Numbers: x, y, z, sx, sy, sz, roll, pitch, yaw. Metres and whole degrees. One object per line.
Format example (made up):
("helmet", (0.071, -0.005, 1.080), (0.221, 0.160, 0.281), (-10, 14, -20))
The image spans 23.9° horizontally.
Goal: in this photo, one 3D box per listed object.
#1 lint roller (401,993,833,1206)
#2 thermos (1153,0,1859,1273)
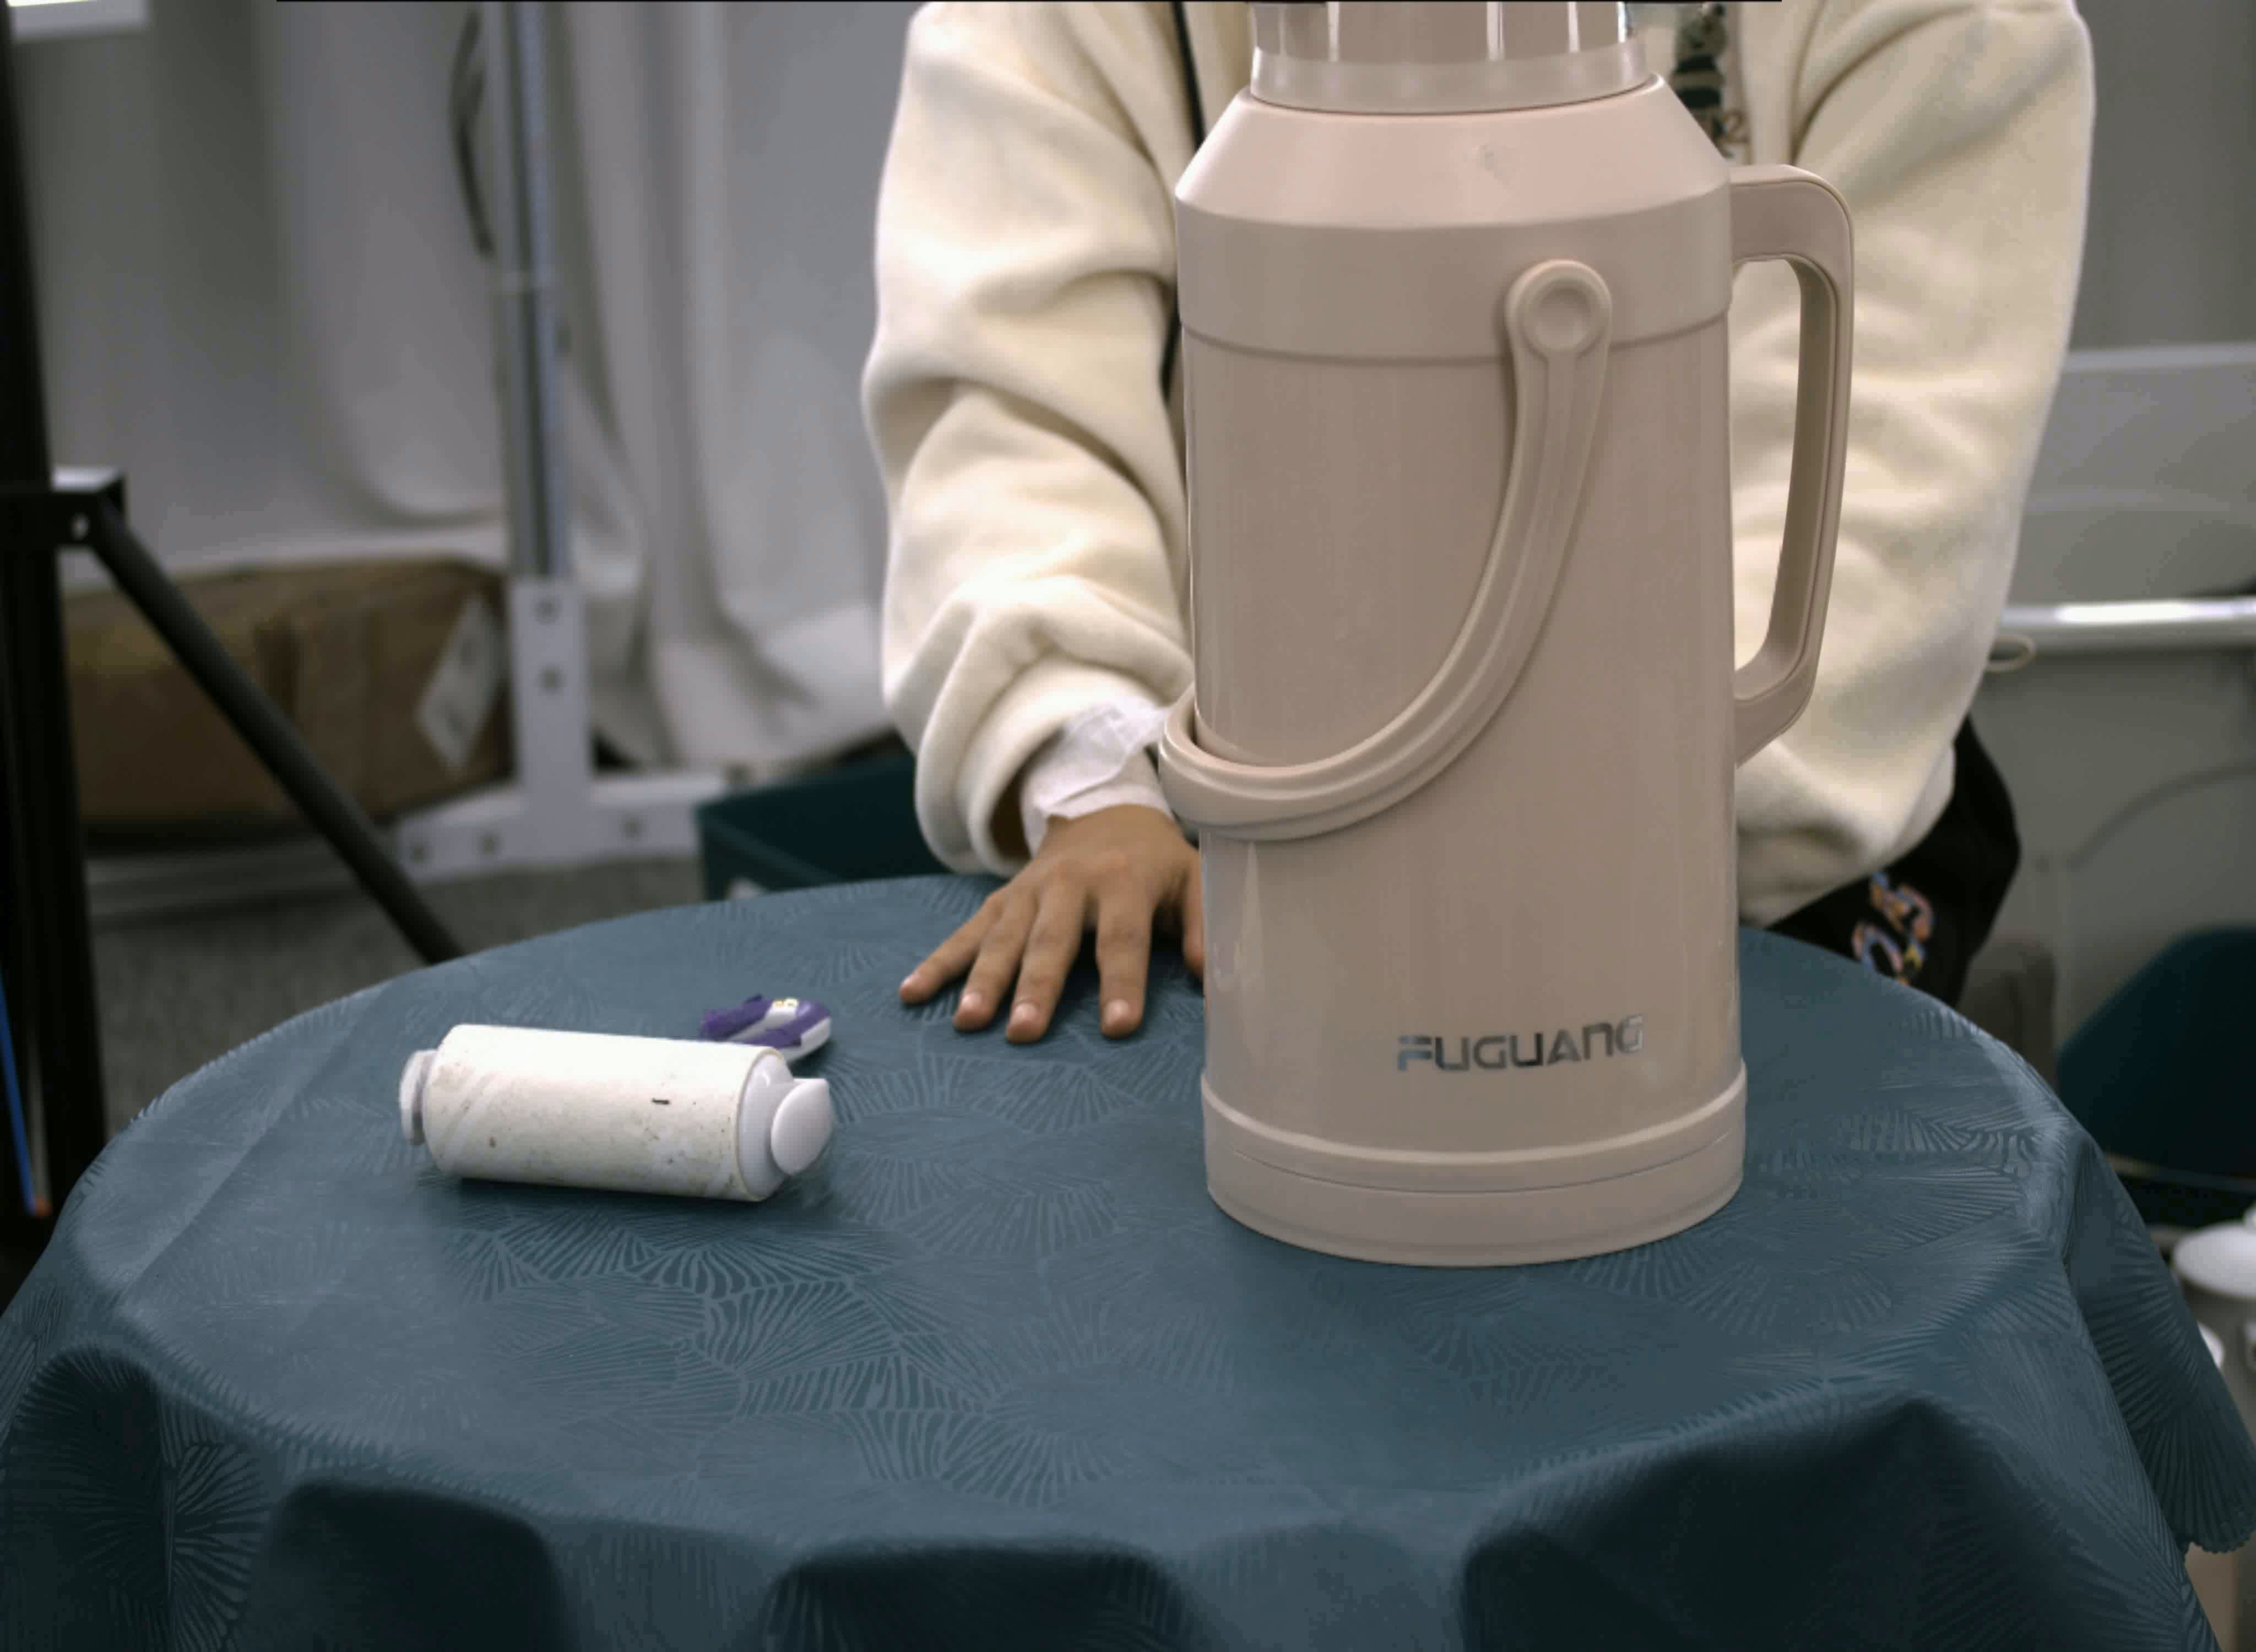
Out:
("lint roller", (-0.131, 0.067, 1.637), (0.134, 0.050, 0.179), (3, 19, 21))
("thermos", (0.108, -0.088, 1.508), (0.204, 0.406, 0.178), (-6, 15, -14))
